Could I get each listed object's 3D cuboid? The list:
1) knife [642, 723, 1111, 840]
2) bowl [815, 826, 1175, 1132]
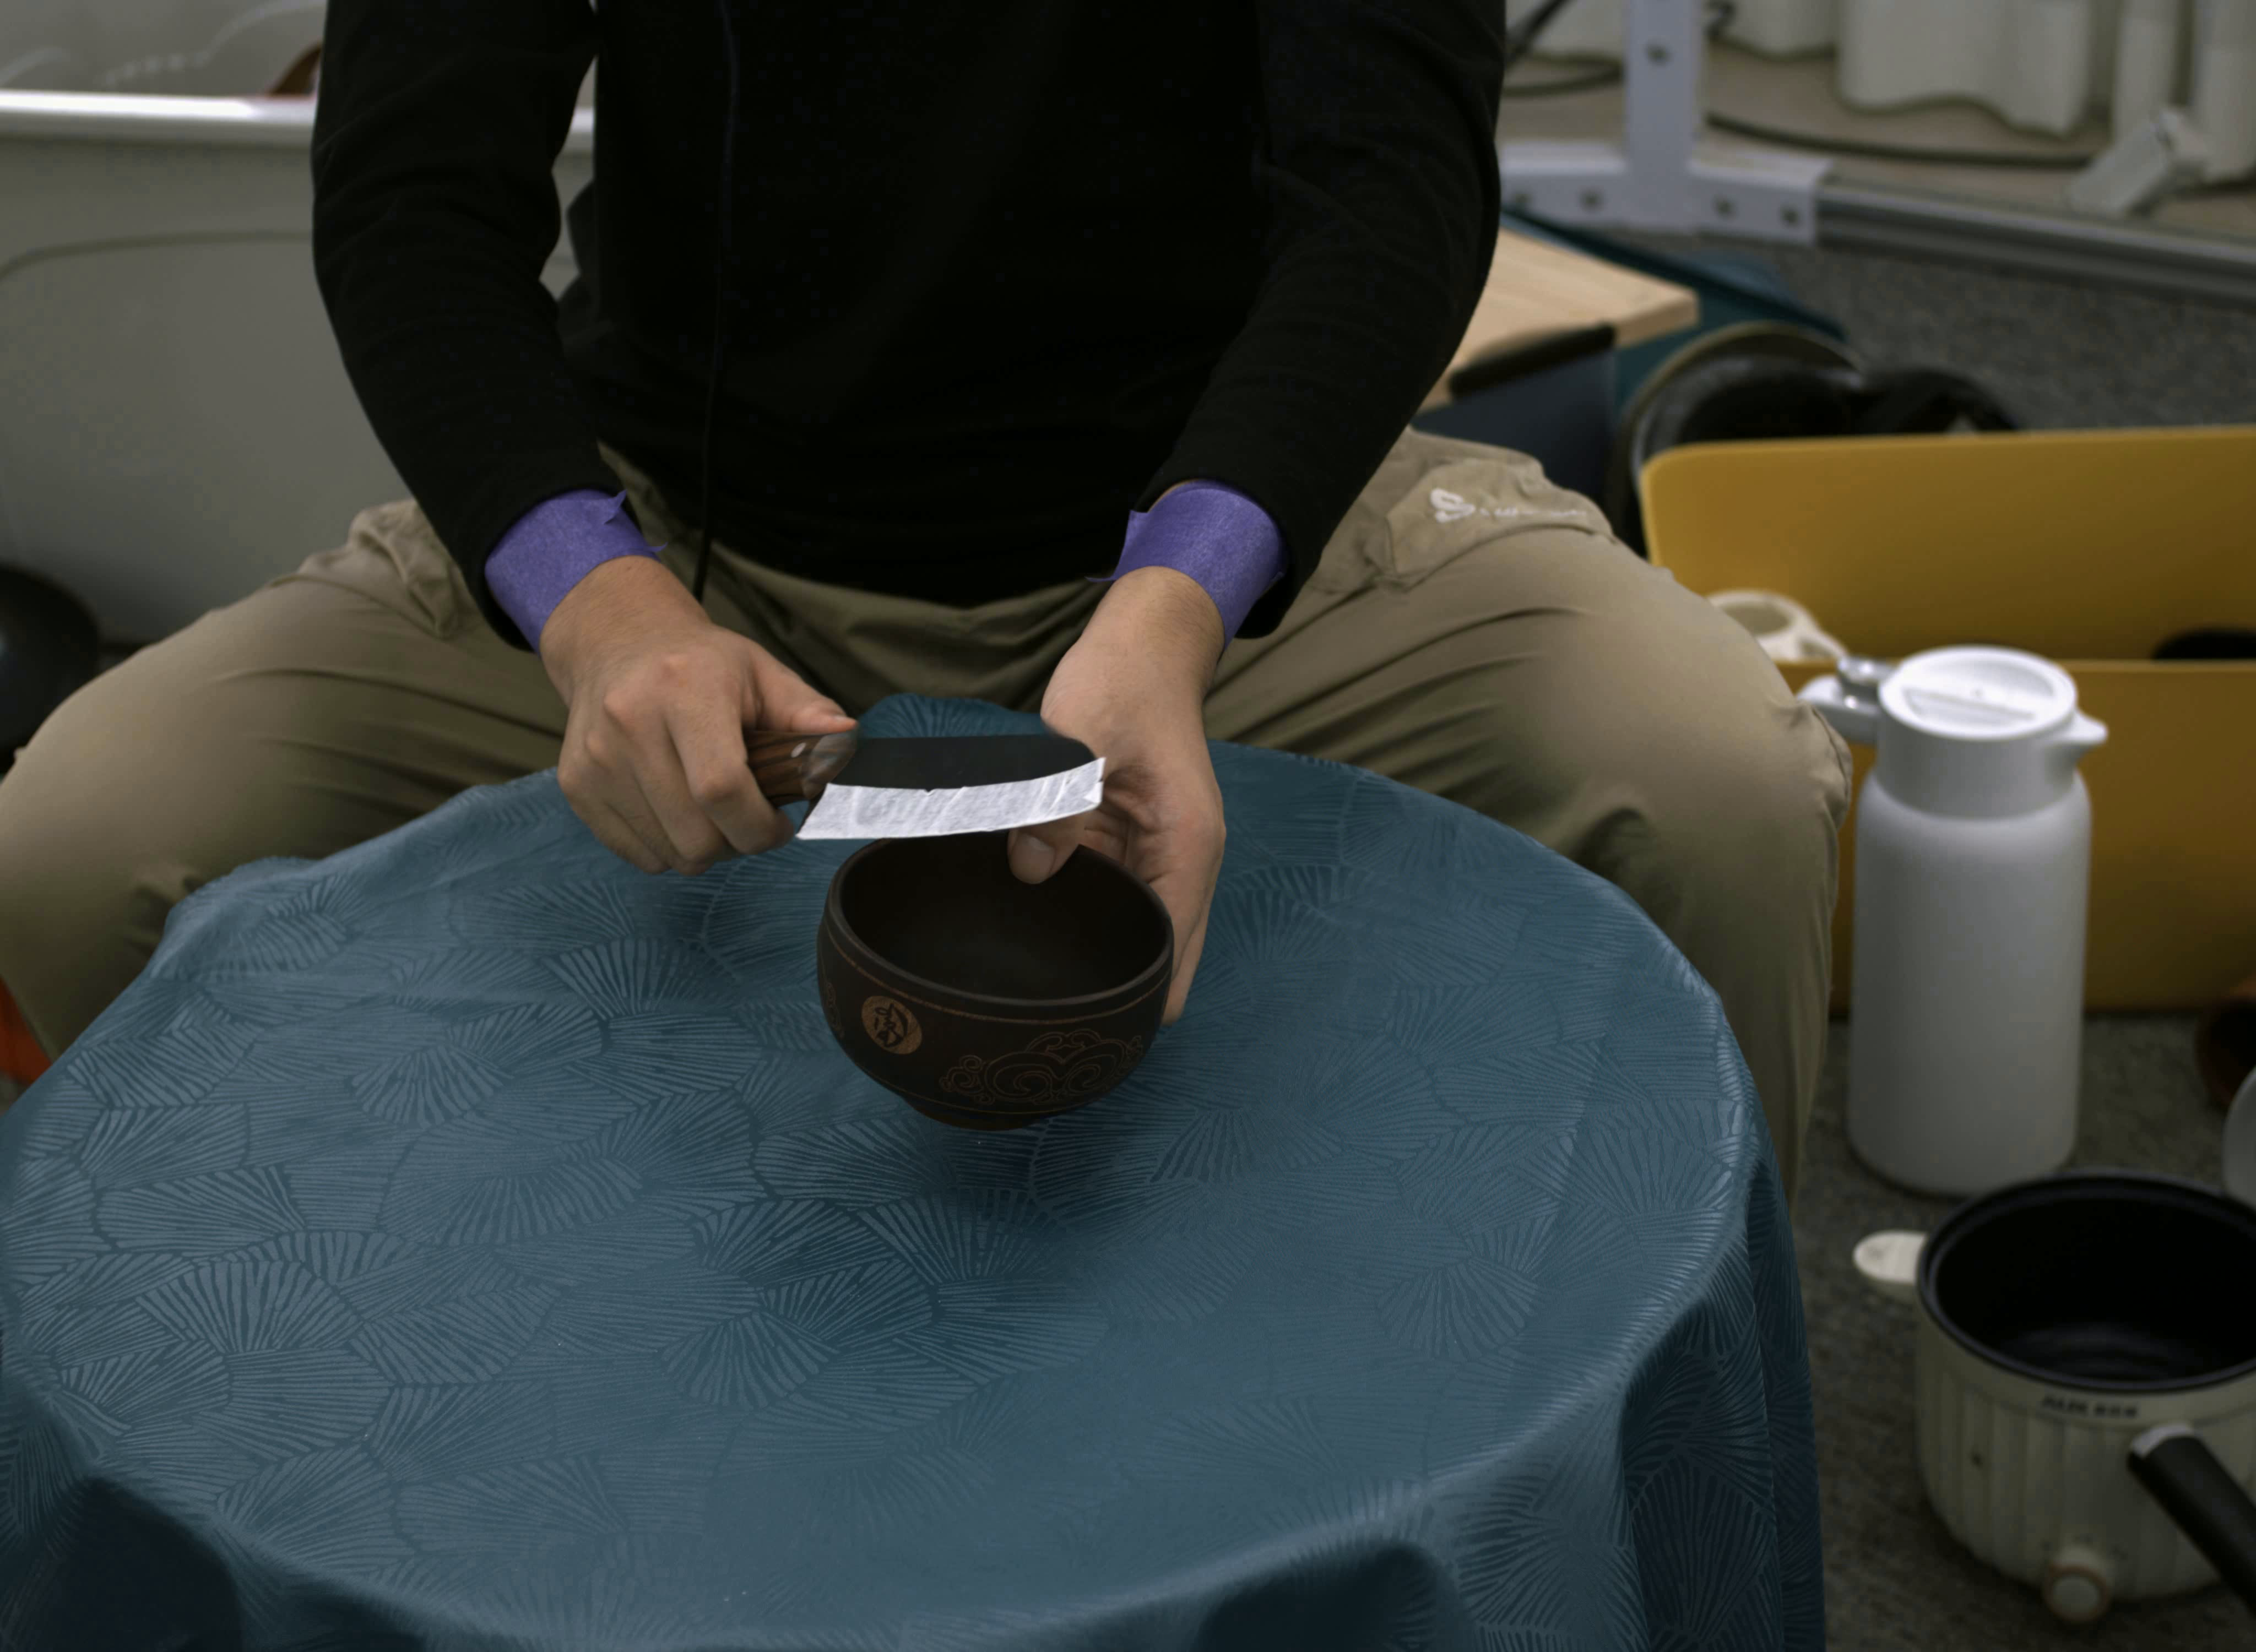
[{"bbox_3d":[-0.087,-0.015,1.904,0.287,0.020,0.051,2,53,55],"label":"knife"},{"bbox_3d":[-0.046,0.057,1.855,0.117,0.069,0.120,7,27,-3],"label":"bowl"}]
